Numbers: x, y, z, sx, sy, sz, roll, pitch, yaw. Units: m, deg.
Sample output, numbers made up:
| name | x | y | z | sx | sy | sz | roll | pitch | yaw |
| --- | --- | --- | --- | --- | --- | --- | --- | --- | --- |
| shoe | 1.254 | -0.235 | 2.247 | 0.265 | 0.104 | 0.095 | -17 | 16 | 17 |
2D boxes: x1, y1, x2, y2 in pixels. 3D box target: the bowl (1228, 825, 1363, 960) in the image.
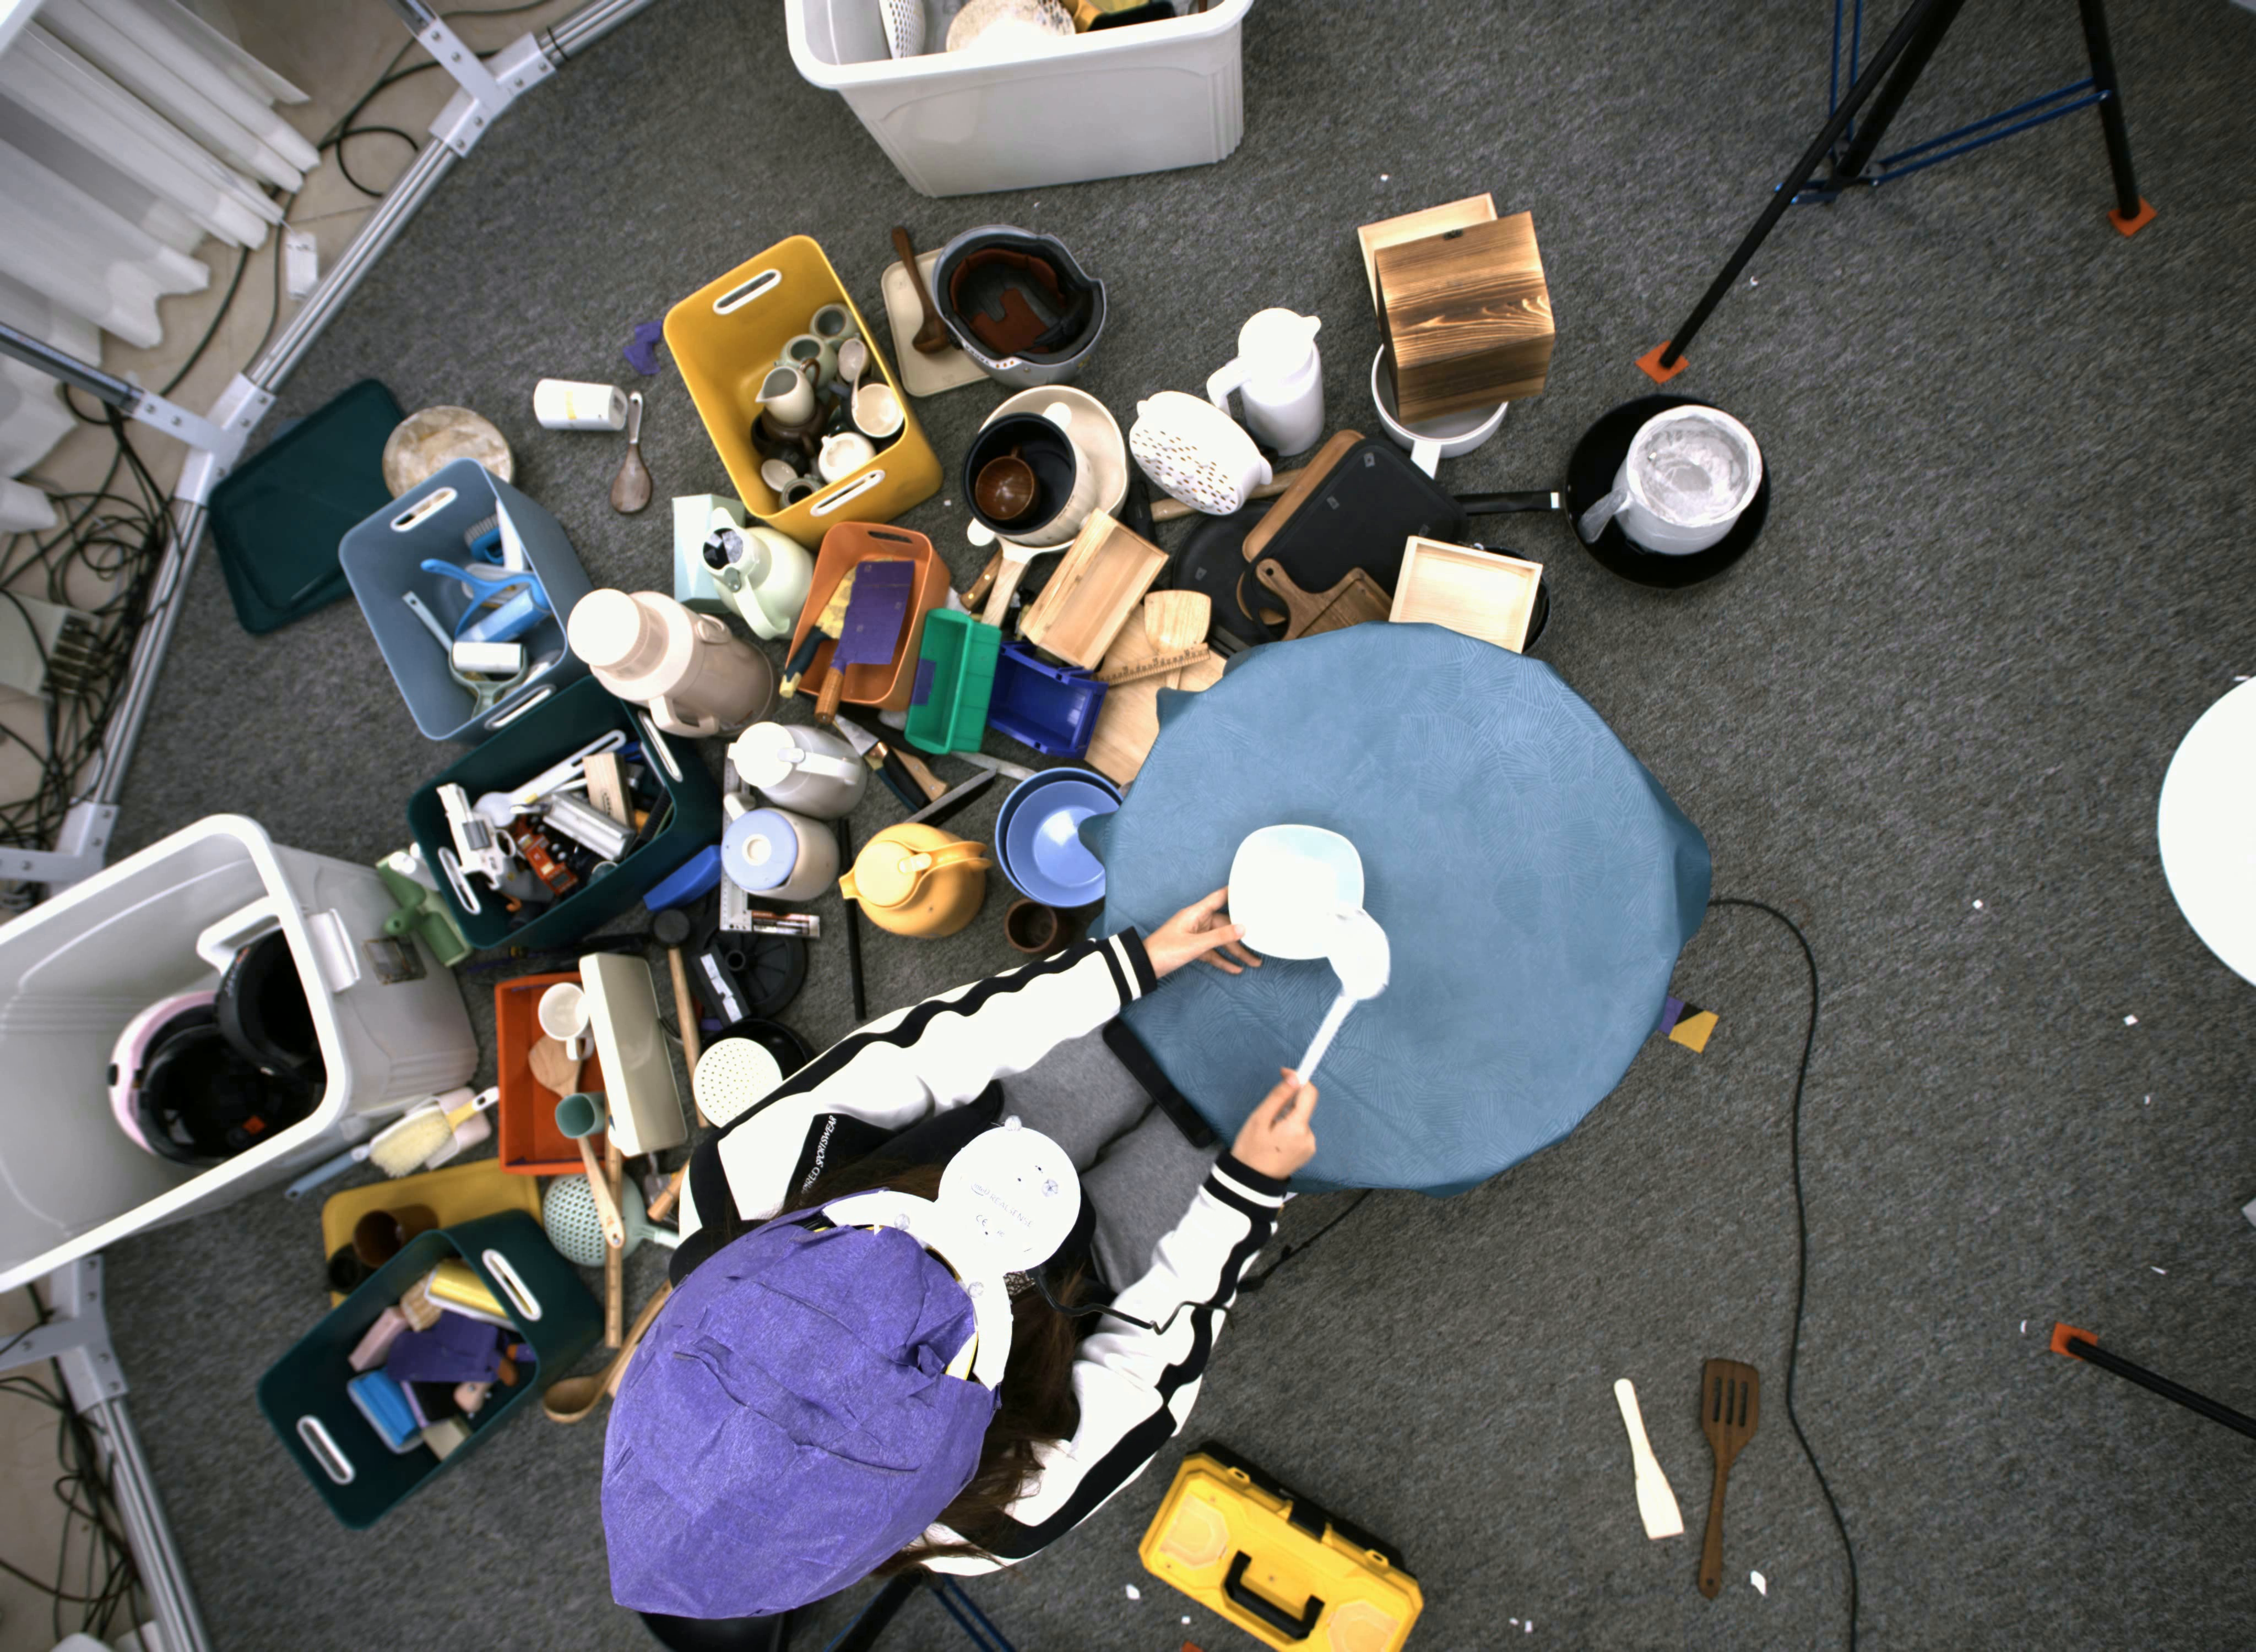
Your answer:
| name | x | y | z | sx | sy | sz | roll | pitch | yaw |
| --- | --- | --- | --- | --- | --- | --- | --- | --- | --- |
| bowl | 0.176 | 0.071 | 1.451 | 0.152 | 0.059 | 0.151 | -1 | 86 | 10 |

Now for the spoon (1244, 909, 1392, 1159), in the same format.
| name | x | y | z | sx | sy | sz | roll | pitch | yaw |
| --- | --- | --- | --- | --- | --- | --- | --- | --- | --- |
| spoon | 0.171 | 0.206 | 1.354 | 0.280 | 0.059 | 0.099 | -58 | 36 | 12 |
